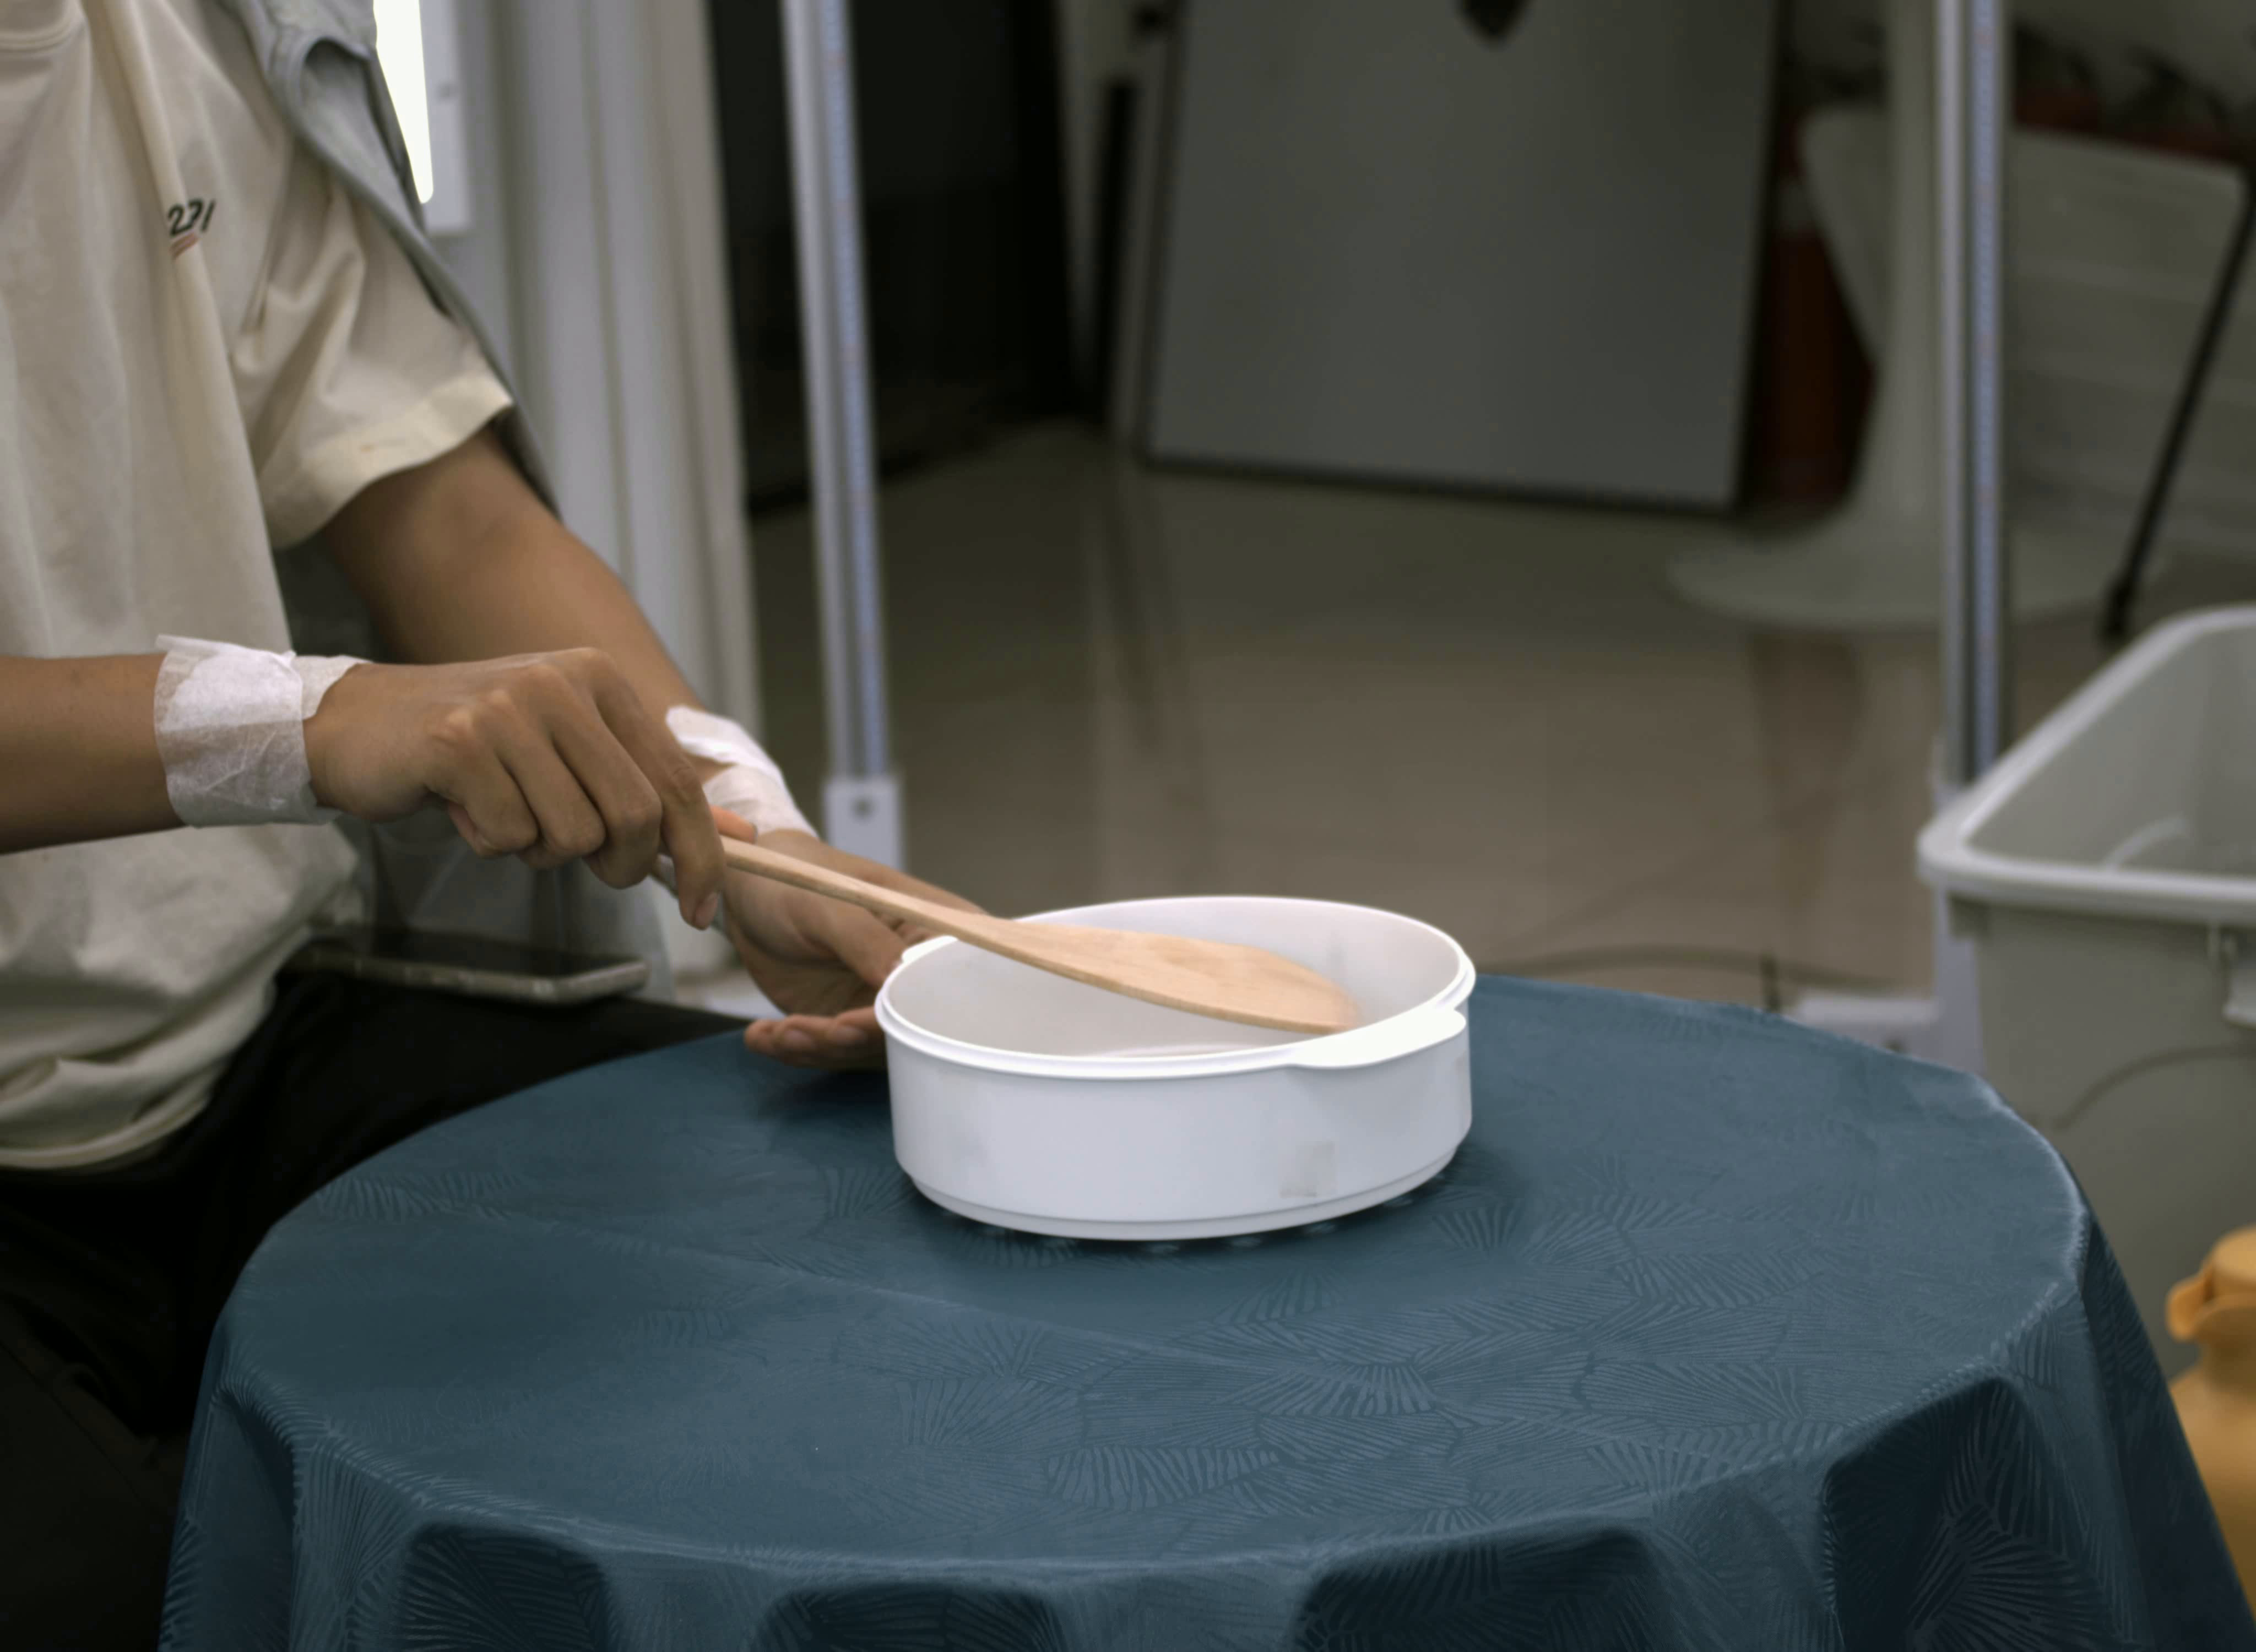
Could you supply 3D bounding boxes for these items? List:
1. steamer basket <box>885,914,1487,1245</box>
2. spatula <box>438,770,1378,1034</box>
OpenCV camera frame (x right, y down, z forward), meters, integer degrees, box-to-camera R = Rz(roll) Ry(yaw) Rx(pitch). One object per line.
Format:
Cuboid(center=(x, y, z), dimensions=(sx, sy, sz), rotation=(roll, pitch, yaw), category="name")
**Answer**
Cuboid(center=(0.021, 0.084, 1.784), dimensions=(0.197, 0.070, 0.233), rotation=(-14, 16, -39), category="steamer basket")
Cuboid(center=(-0.072, 0.023, 1.775), dimensions=(0.321, 0.017, 0.080), rotation=(16, 12, -19), category="spatula")
